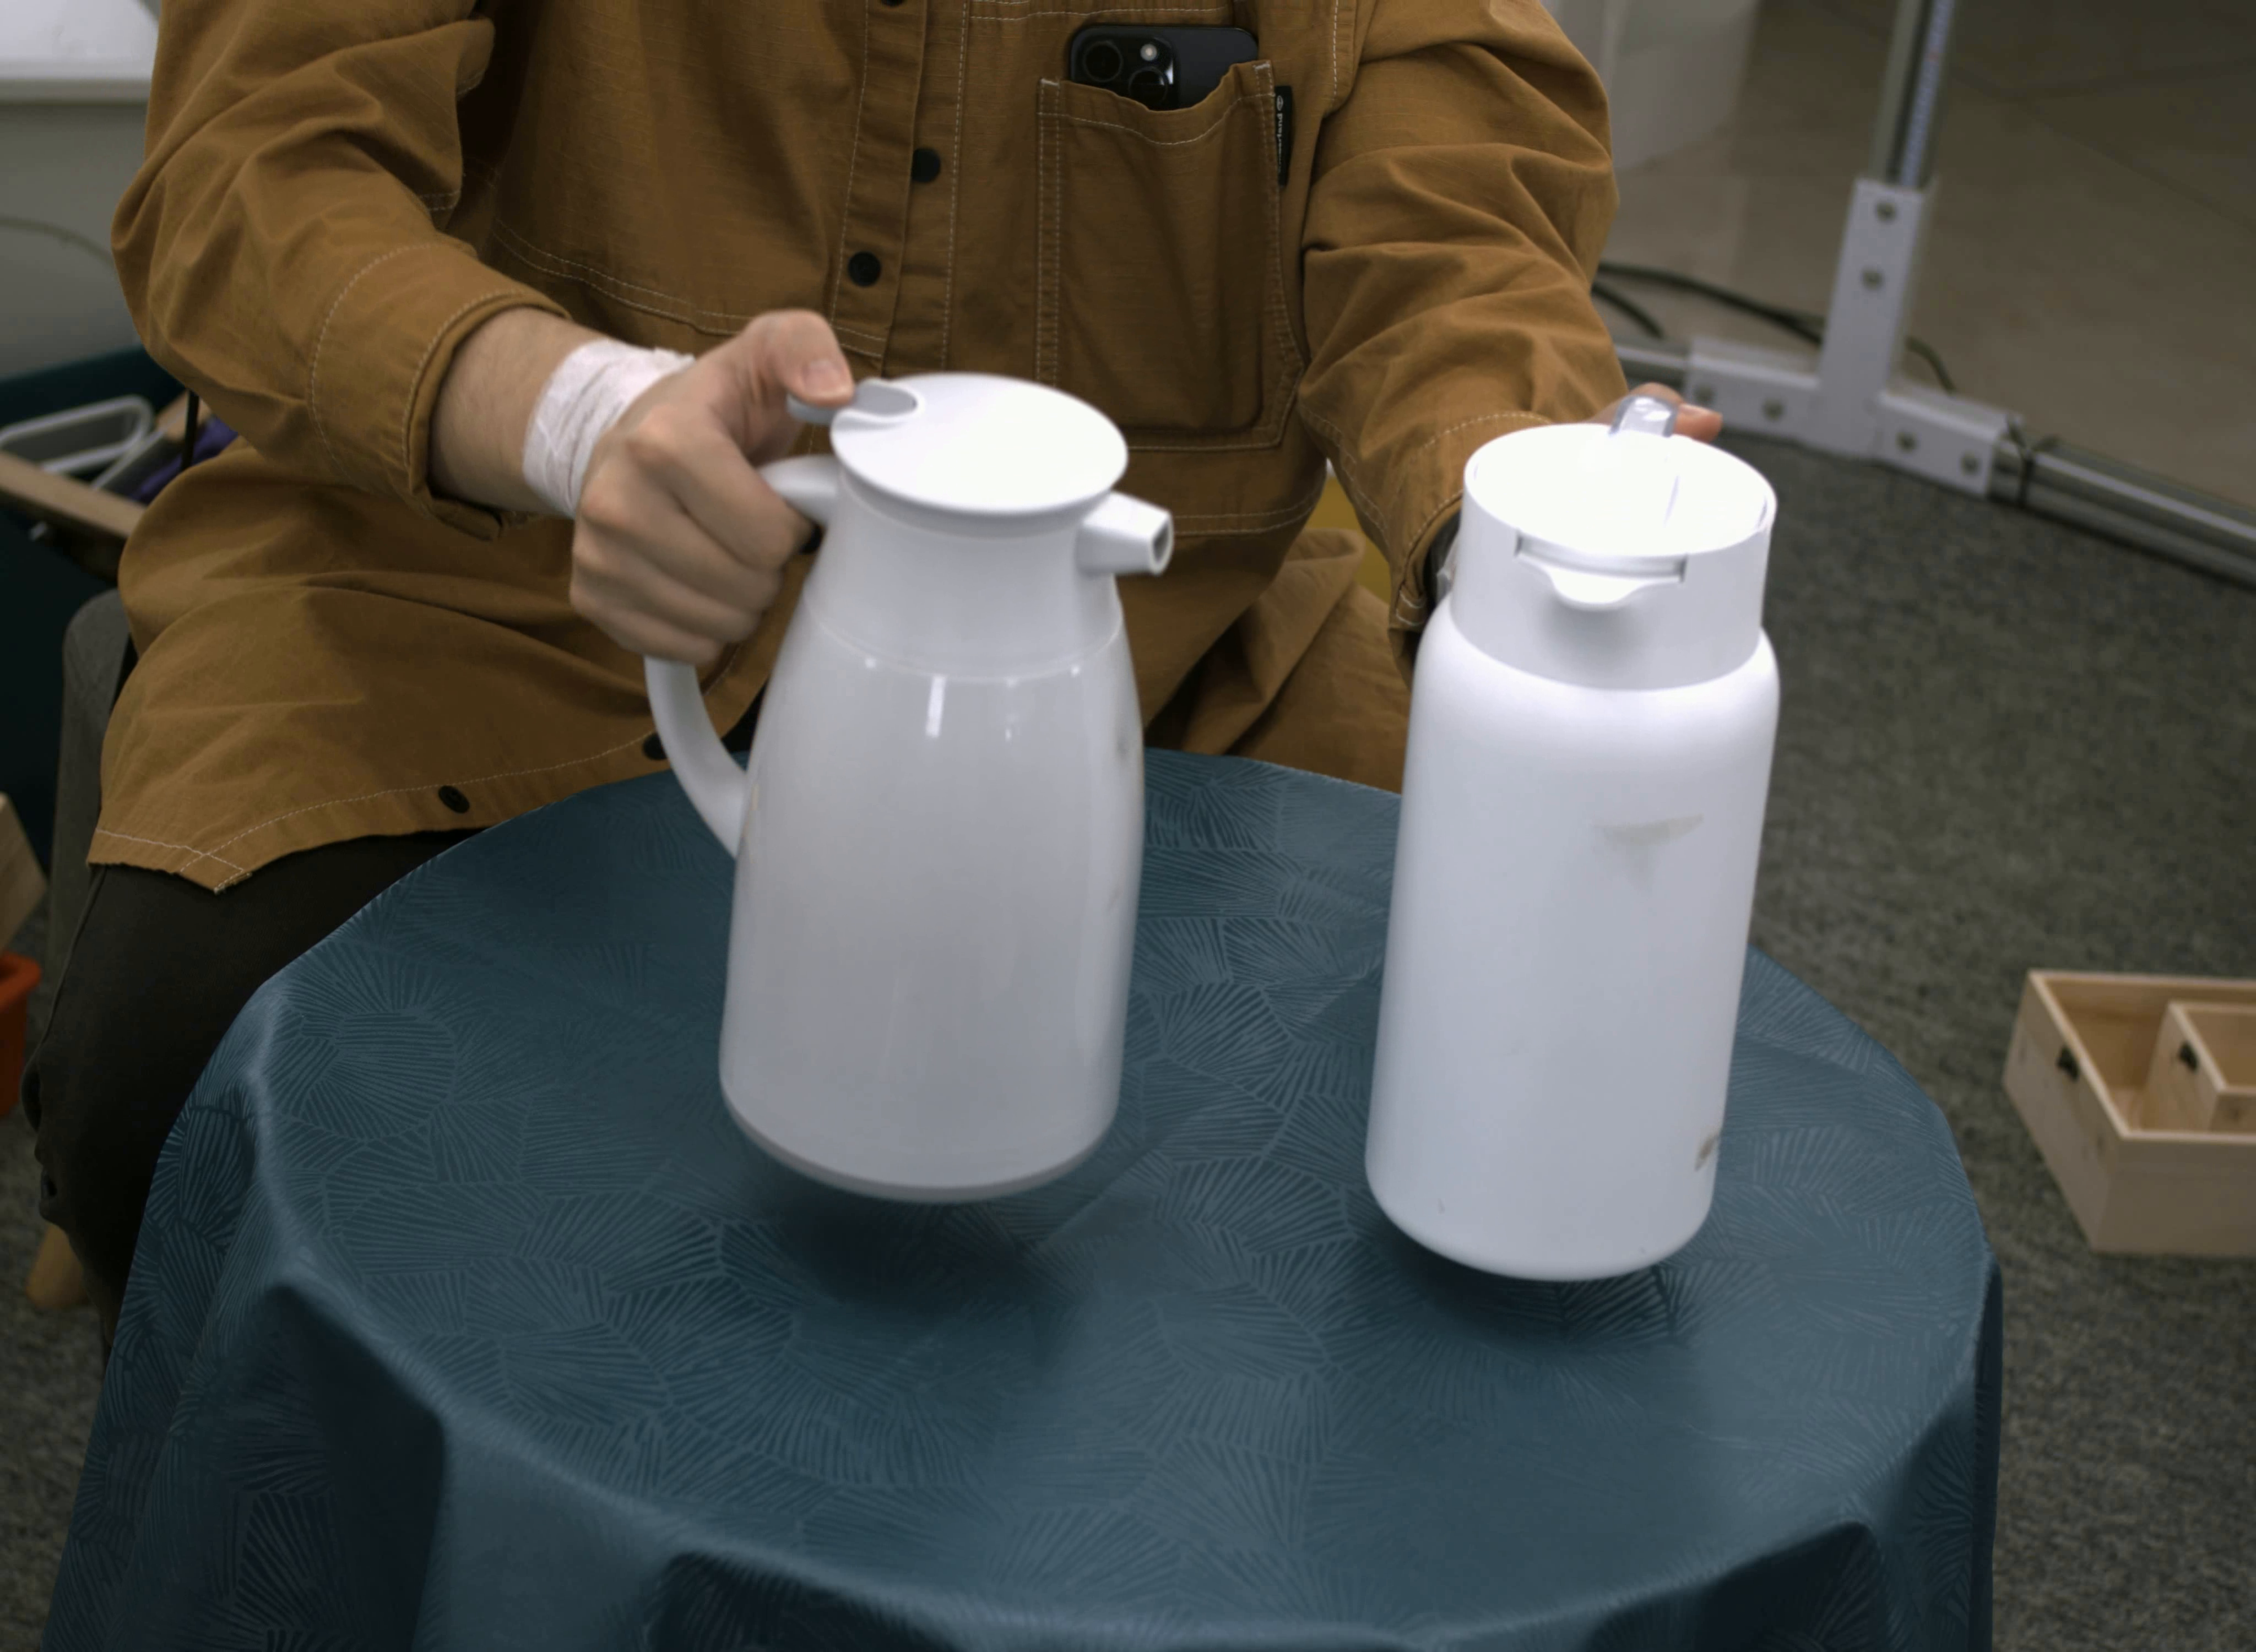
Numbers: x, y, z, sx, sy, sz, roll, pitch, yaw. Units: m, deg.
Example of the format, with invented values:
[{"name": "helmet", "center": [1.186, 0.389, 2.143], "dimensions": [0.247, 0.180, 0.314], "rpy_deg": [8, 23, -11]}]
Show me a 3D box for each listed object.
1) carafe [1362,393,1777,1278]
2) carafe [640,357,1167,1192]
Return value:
[{"name": "carafe", "center": [0.147, -0.001, 1.739], "dimensions": [0.124, 0.268, 0.173], "rpy_deg": [7, 27, 10]}, {"name": "carafe", "center": [-0.077, -0.027, 1.689], "dimensions": [0.168, 0.247, 0.133], "rpy_deg": [13, 31, 14]}]
